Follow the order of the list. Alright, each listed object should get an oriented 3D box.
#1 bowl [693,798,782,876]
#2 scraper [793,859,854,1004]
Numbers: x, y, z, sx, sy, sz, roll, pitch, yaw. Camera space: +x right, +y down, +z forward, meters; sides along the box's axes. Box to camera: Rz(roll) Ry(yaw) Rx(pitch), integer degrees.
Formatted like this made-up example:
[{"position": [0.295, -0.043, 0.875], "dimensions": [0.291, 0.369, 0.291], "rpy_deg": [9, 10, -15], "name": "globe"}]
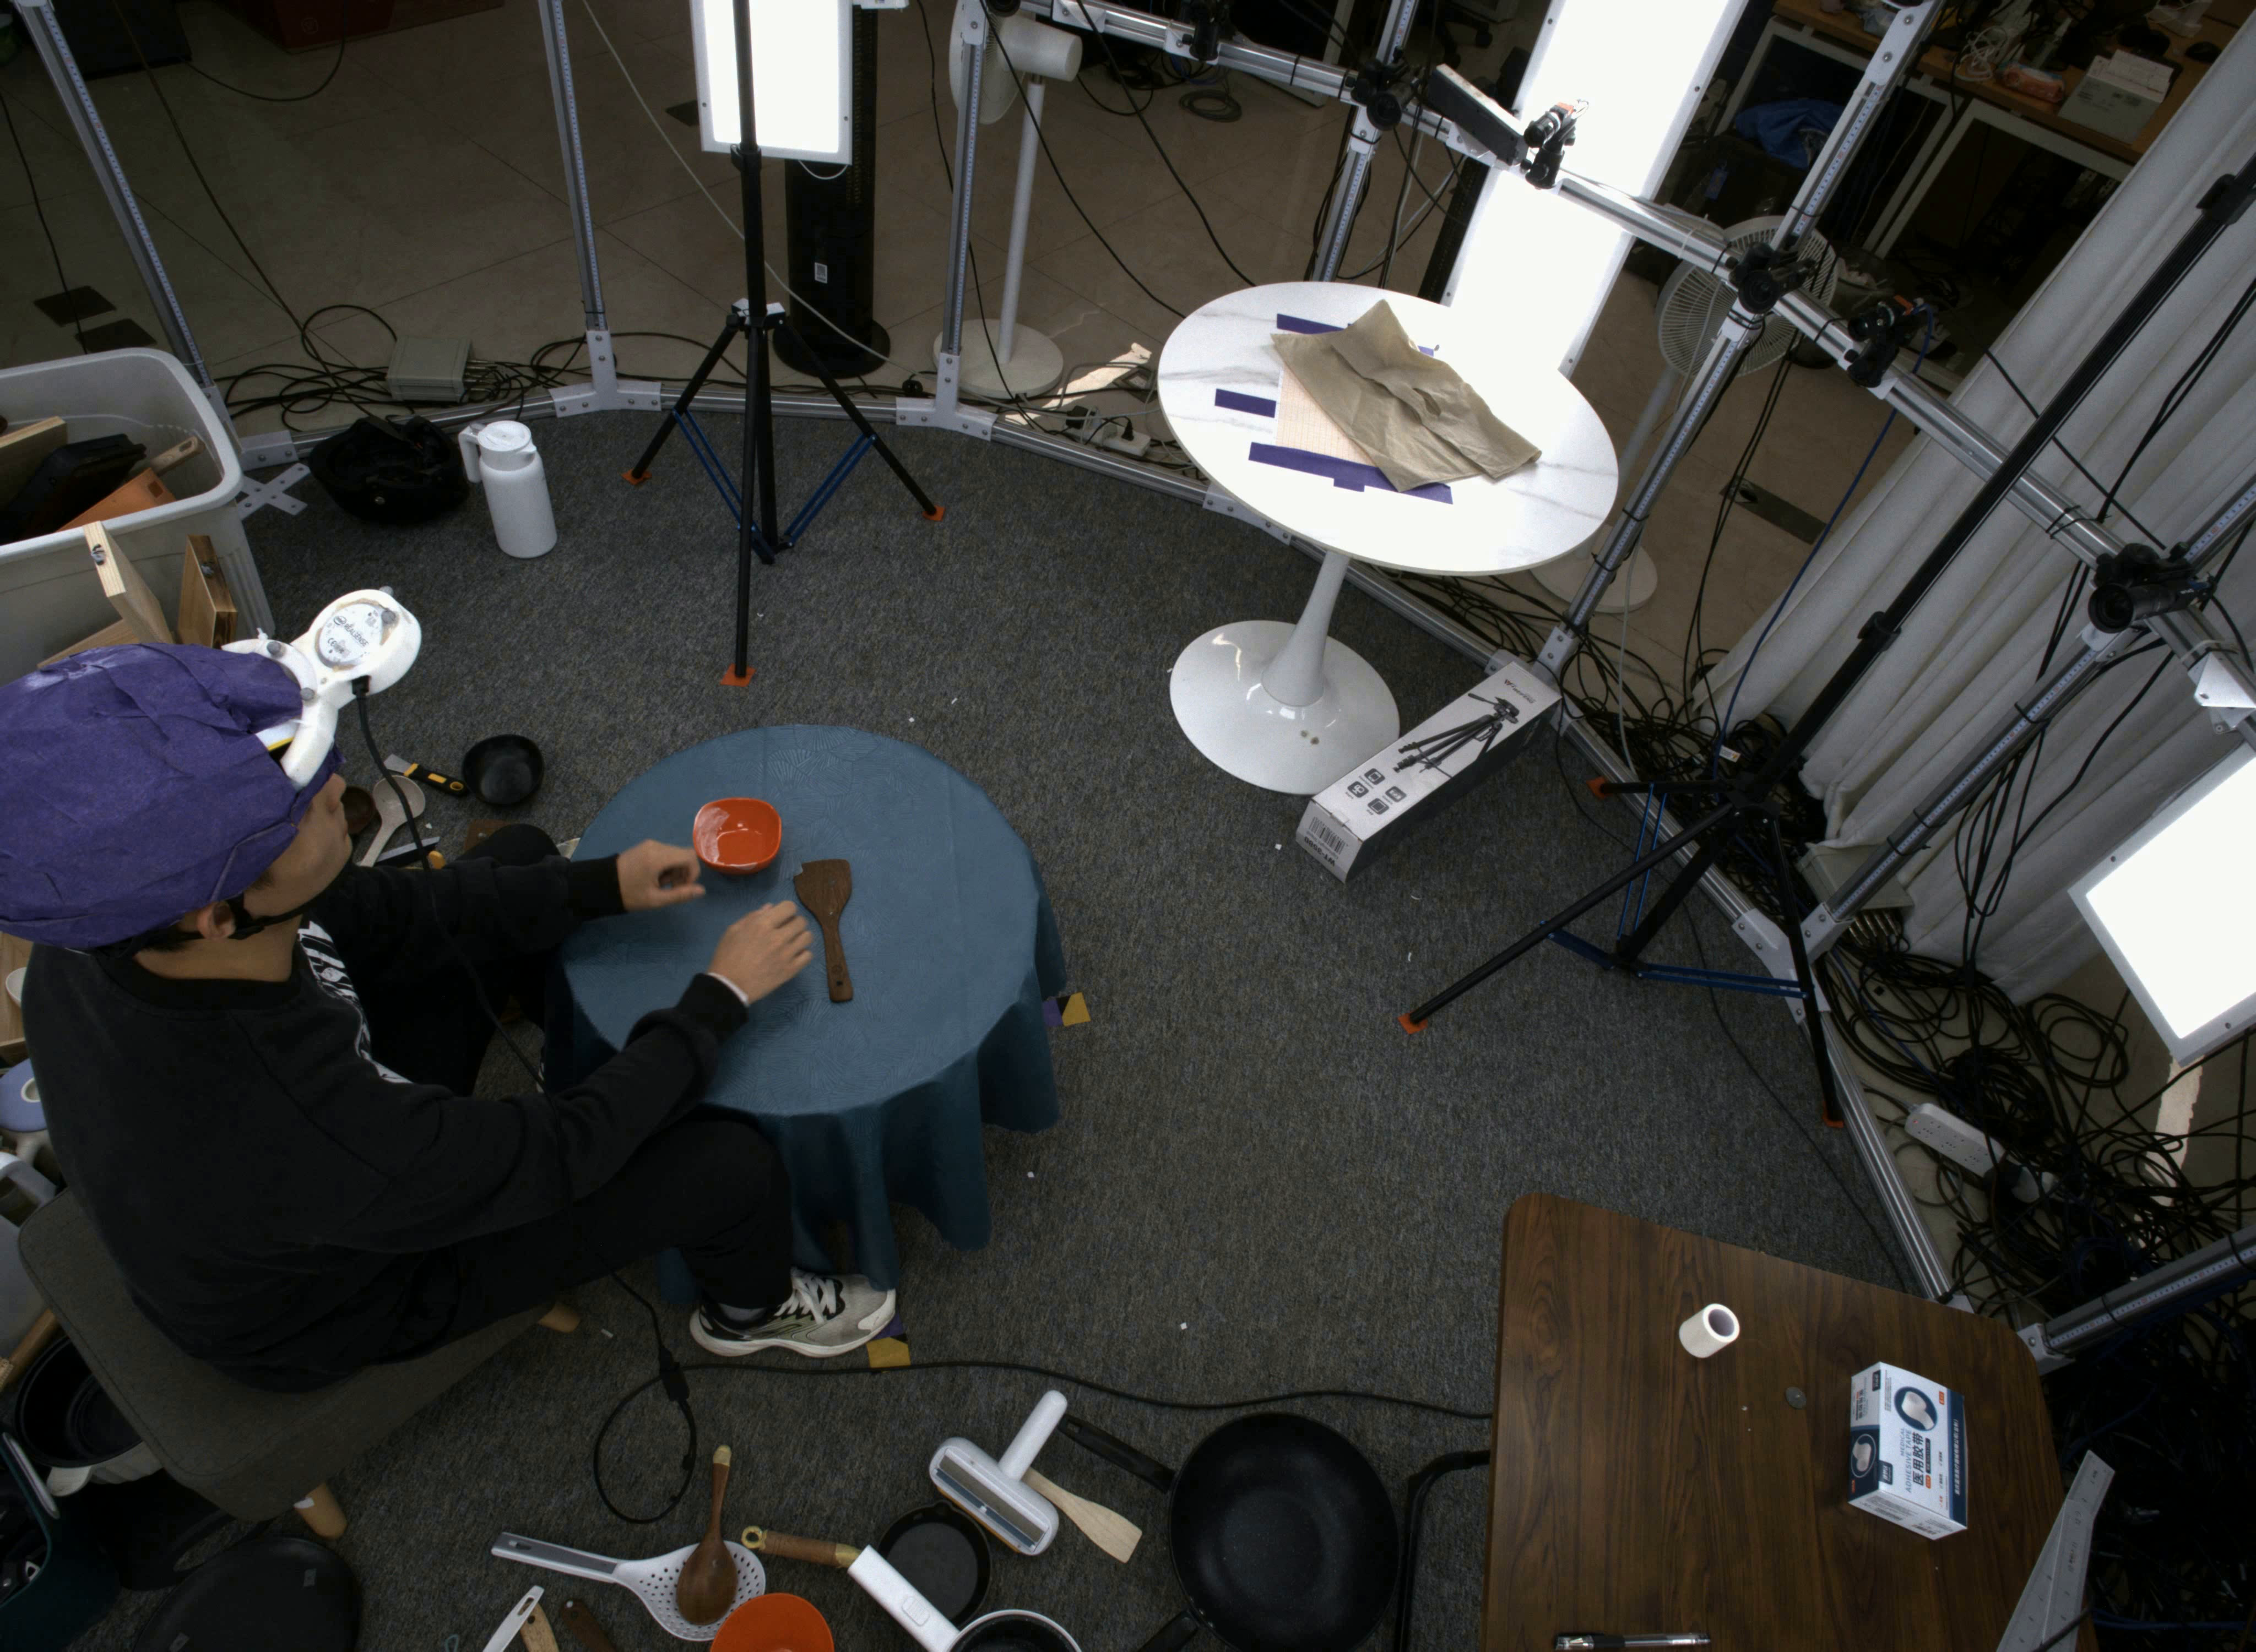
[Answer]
[{"position": [-0.501, 0.021, 1.661], "dimensions": [0.119, 0.052, 0.117], "rpy_deg": [9, 51, -10], "name": "bowl"}, {"position": [-0.374, 0.130, 1.640], "dimensions": [0.076, 0.011, 0.206], "rpy_deg": [-6, 57, -18], "name": "scraper"}]
